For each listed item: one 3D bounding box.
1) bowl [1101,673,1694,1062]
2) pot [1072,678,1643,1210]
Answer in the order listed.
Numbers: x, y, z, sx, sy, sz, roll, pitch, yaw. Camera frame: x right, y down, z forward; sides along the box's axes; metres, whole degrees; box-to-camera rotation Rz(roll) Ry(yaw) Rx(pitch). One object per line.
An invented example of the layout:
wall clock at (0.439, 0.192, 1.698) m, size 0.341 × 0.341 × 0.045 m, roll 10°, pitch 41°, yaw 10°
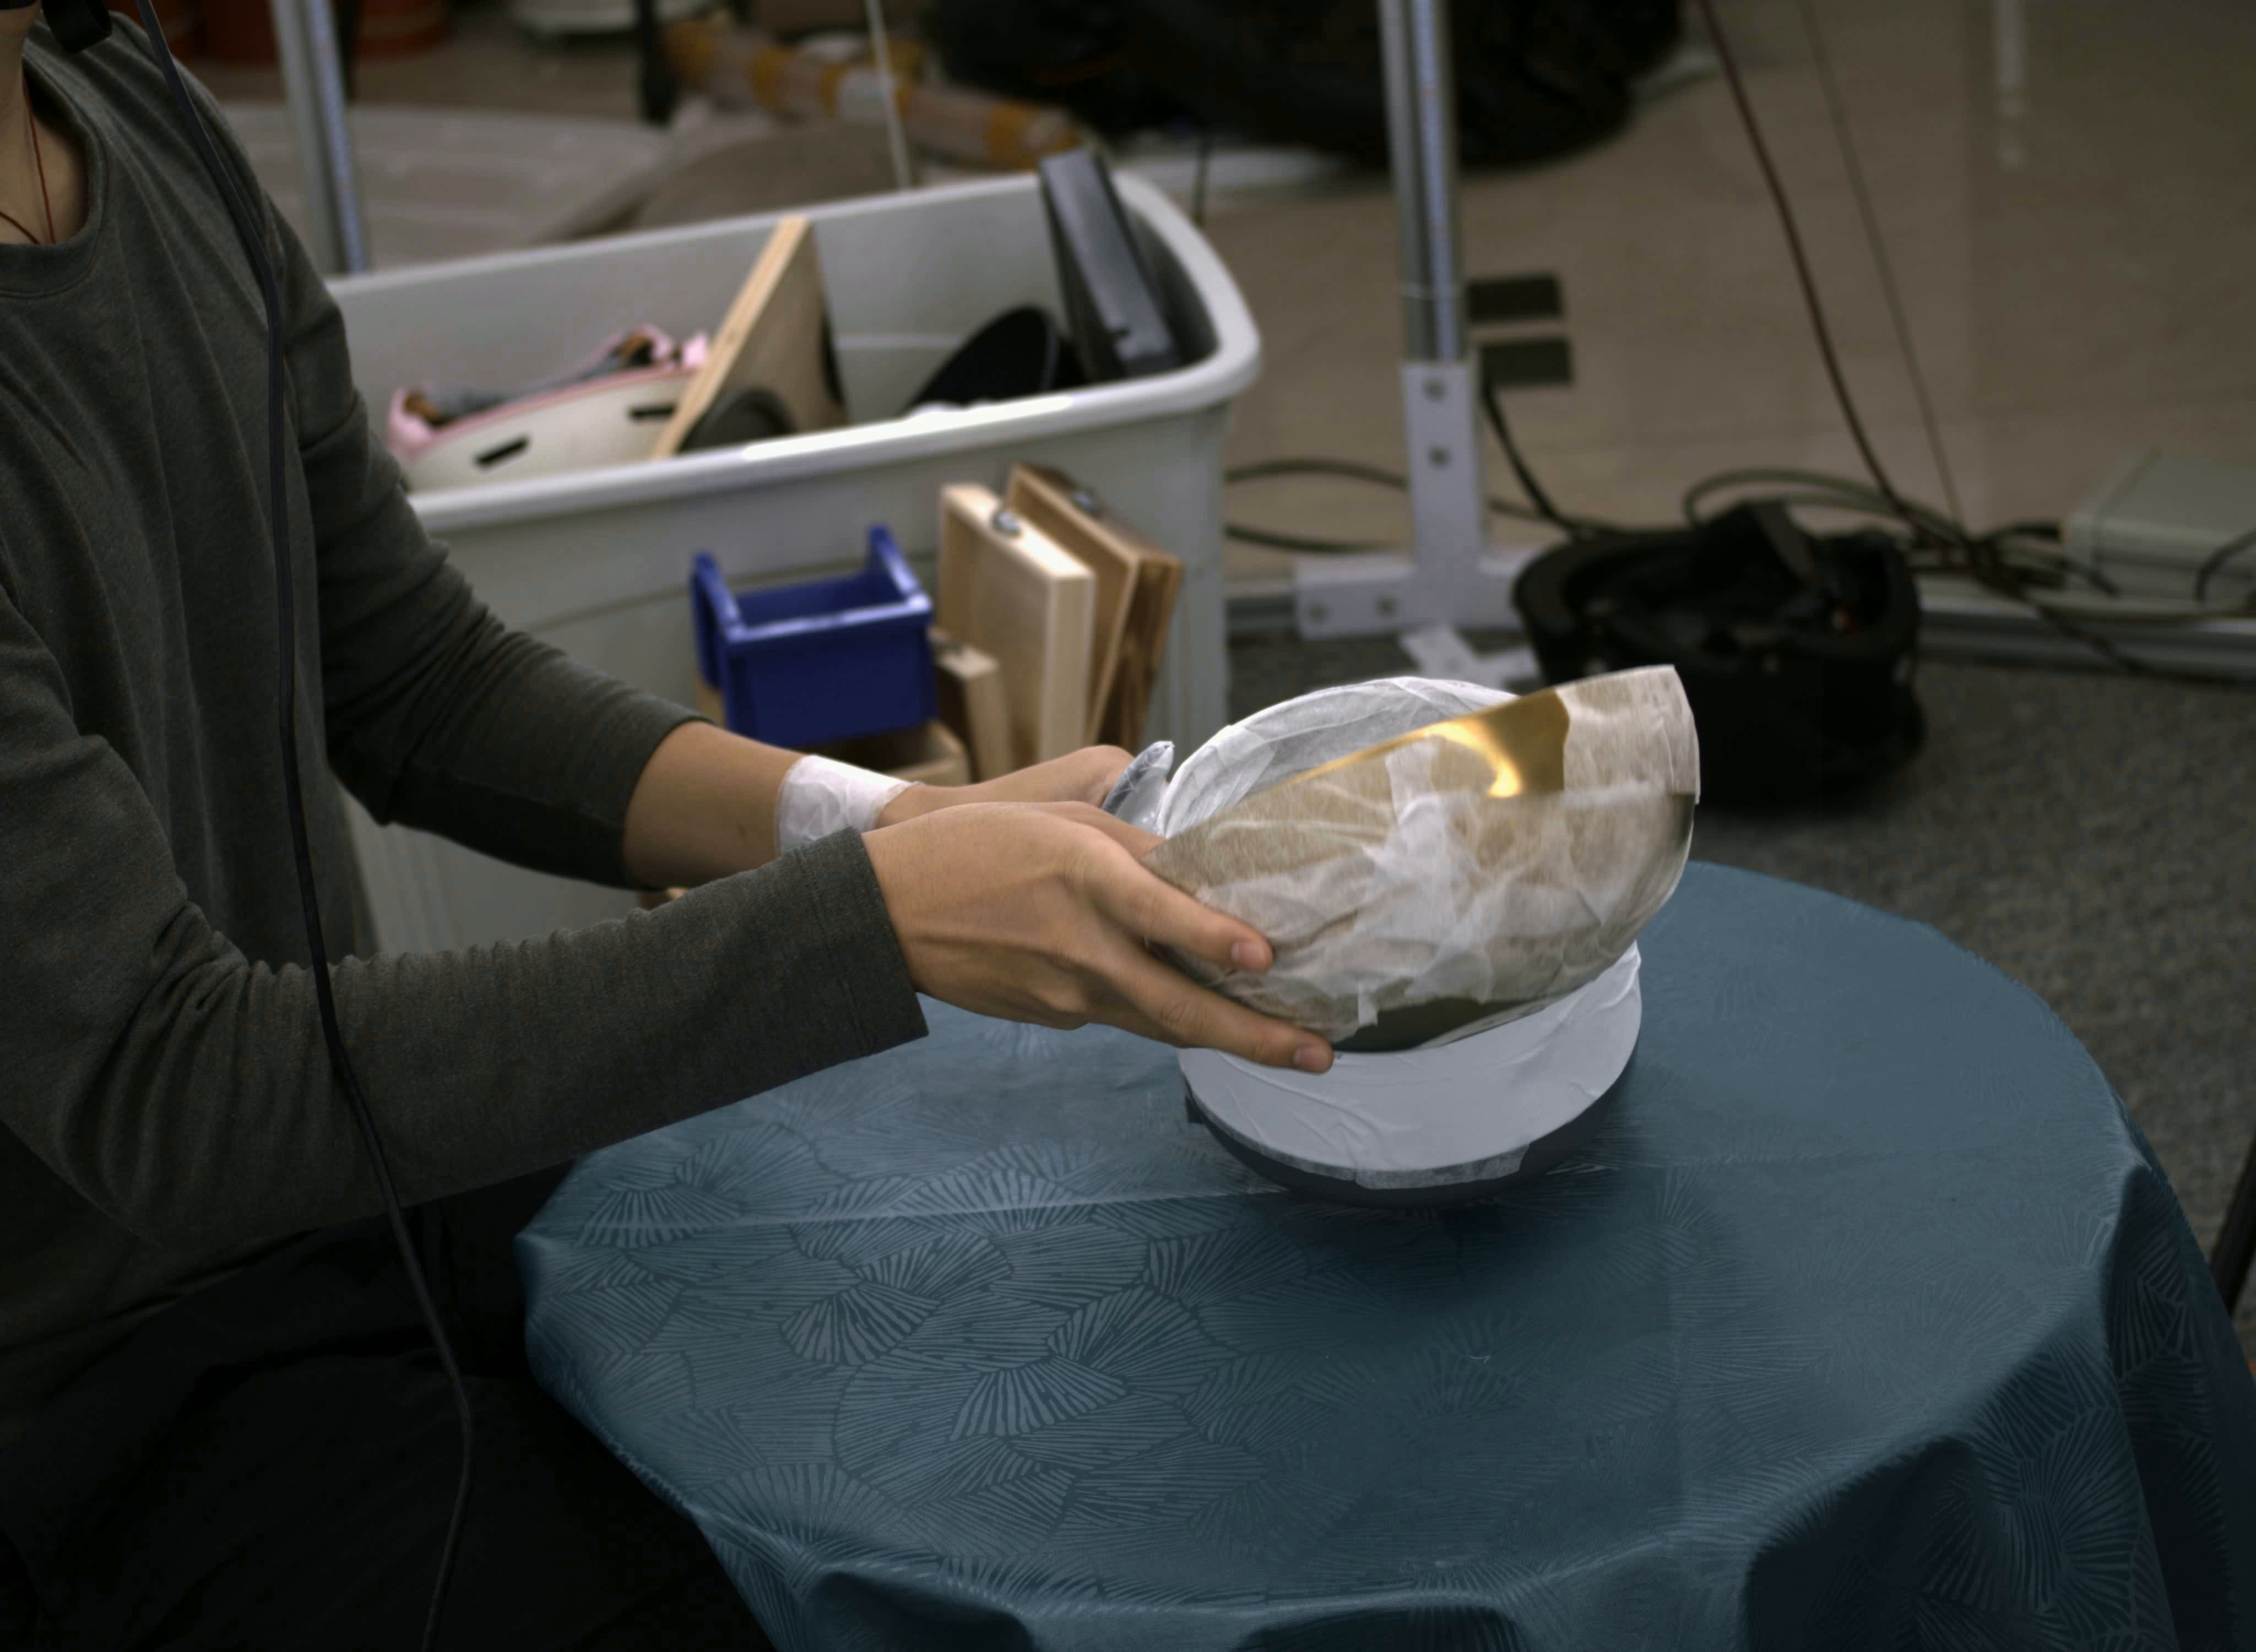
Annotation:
bowl at (0.103, 0.027, 1.930) m, size 0.214 × 0.094 × 0.215 m, roll -21°, pitch -5°, yaw -1°
pot at (0.079, 0.041, 2.139) m, size 0.232 × 0.139 × 0.176 m, roll 15°, pitch 42°, yaw 27°
